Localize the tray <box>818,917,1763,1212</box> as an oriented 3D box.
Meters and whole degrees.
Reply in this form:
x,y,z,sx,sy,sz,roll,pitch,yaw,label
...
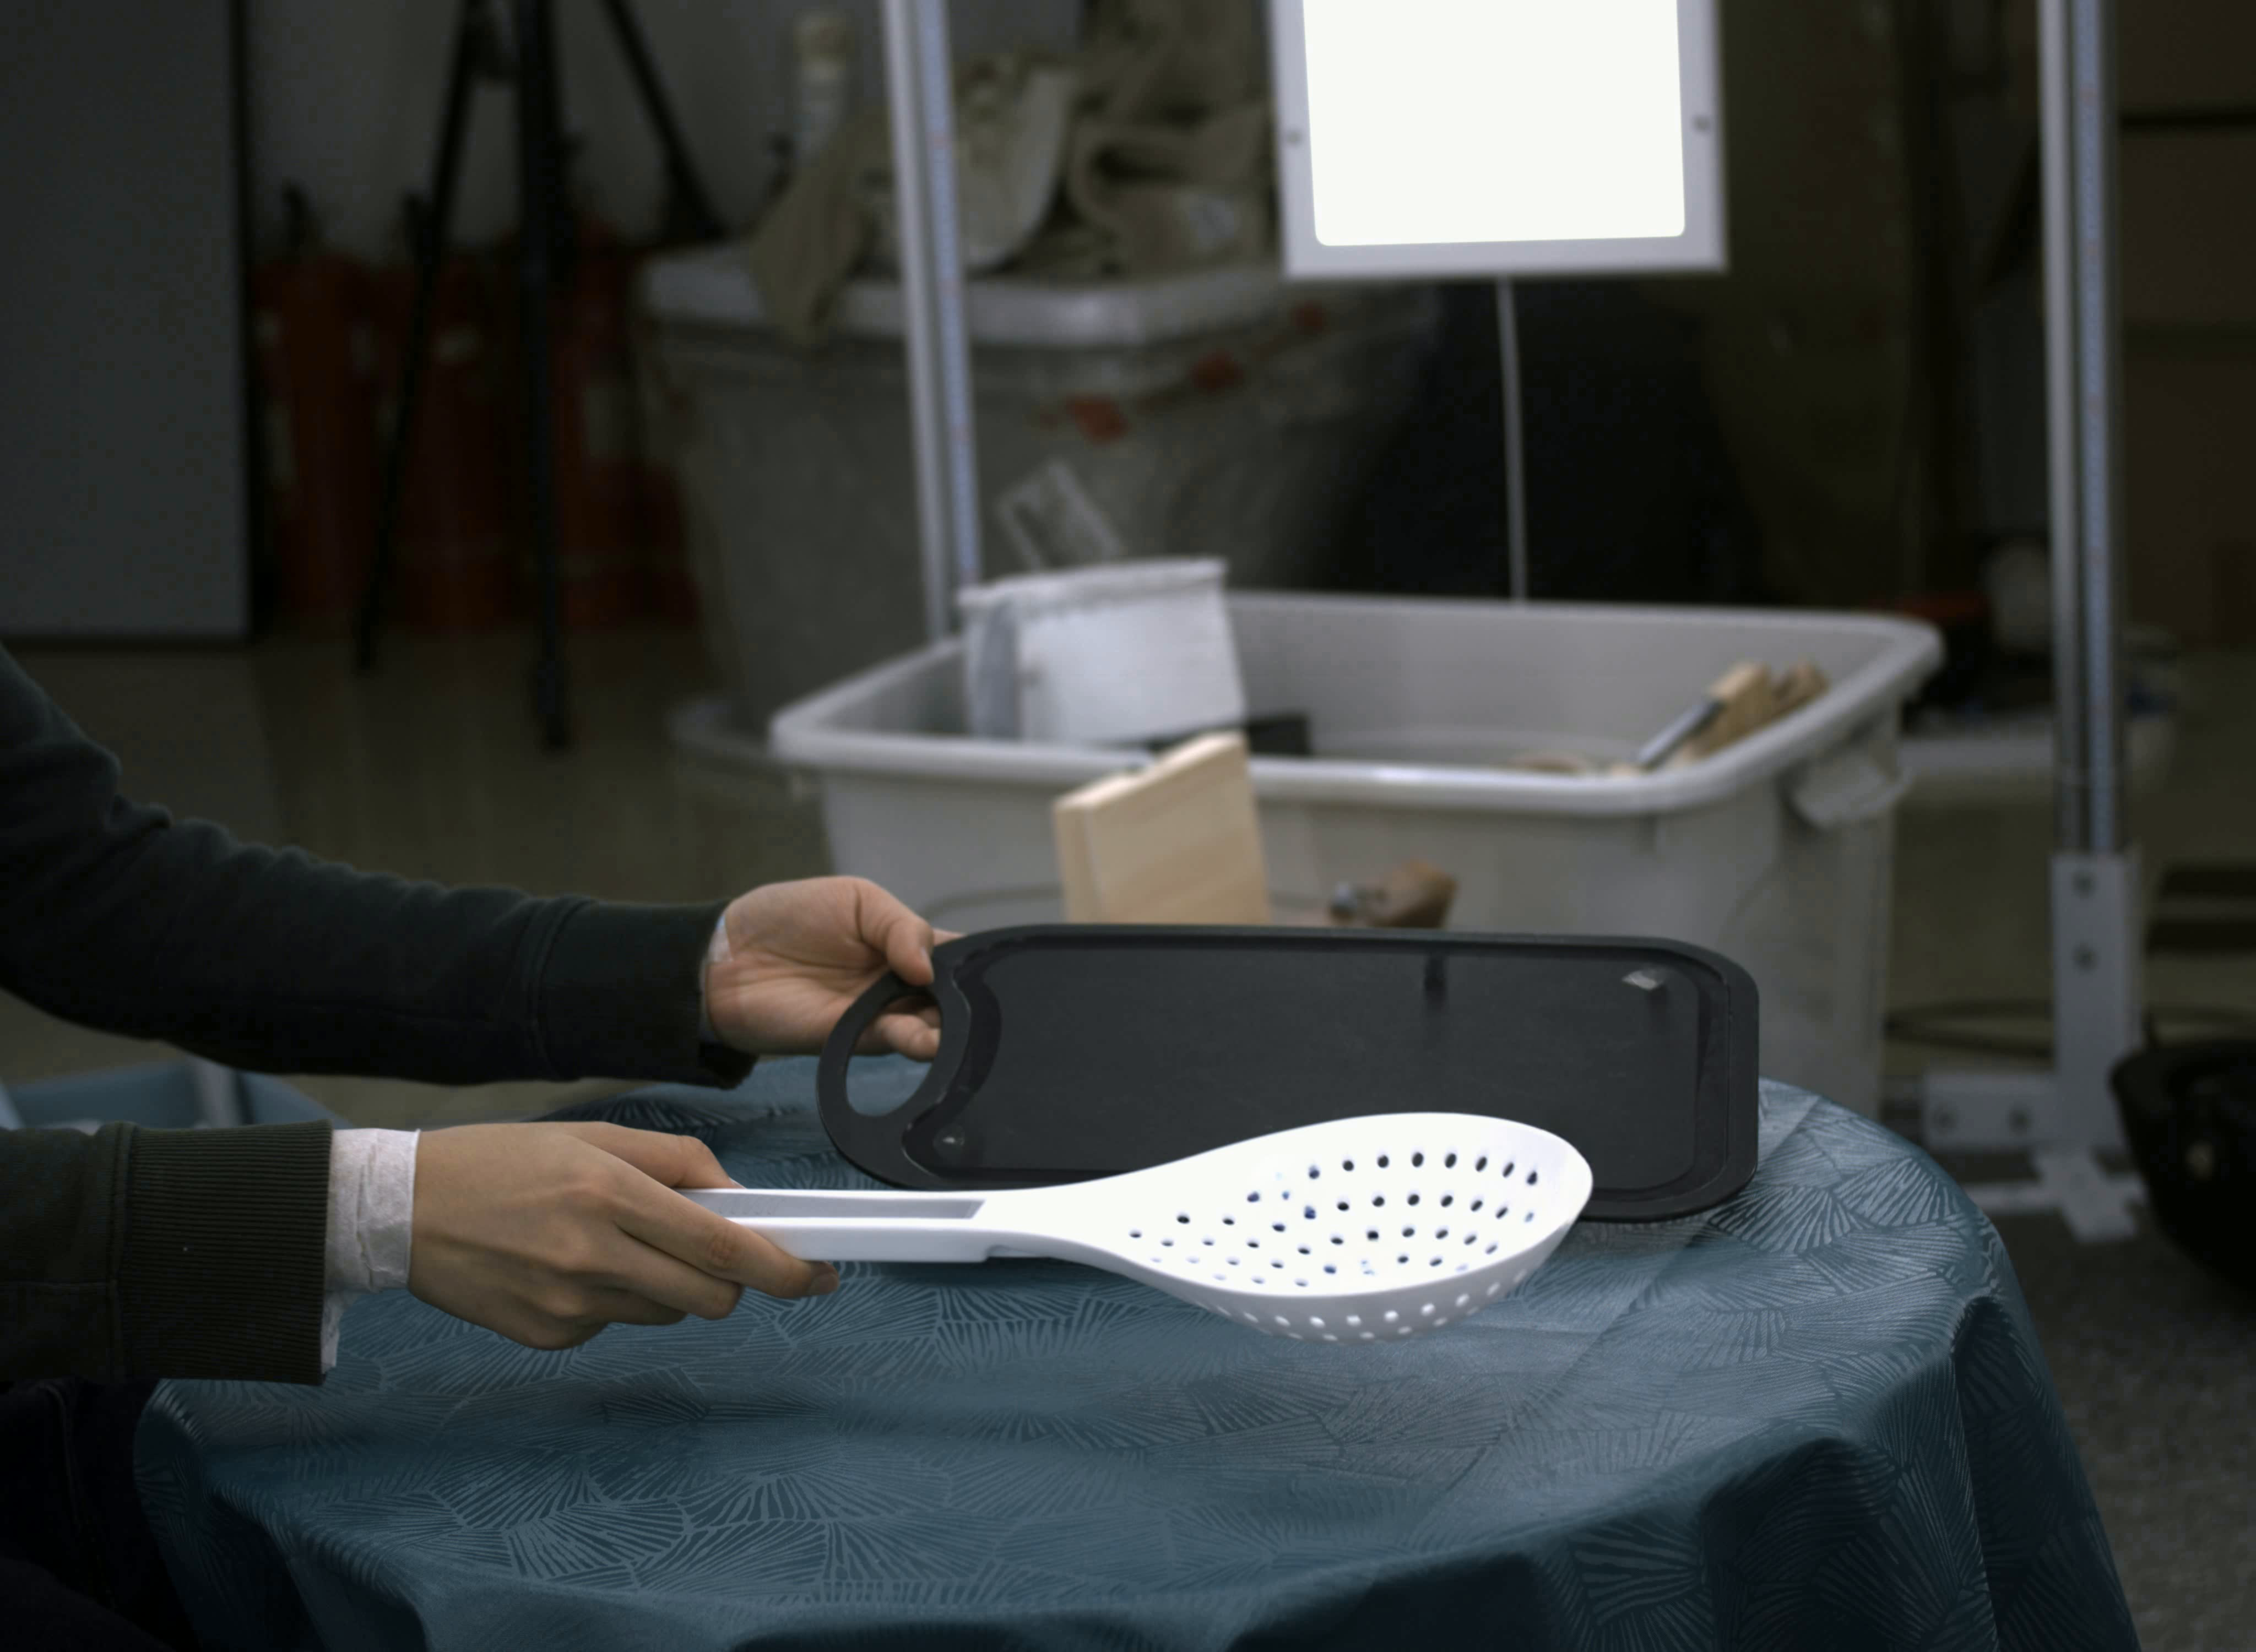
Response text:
x,y,z,sx,sy,sz,roll,pitch,yaw,label
0.056,0.079,1.892,0.327,0.010,0.209,1,25,8,tray

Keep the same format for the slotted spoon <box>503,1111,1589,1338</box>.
x,y,z,sx,sy,sz,roll,pitch,yaw,label
-0.030,0.120,1.686,0.354,0.046,0.134,3,20,20,slotted spoon
